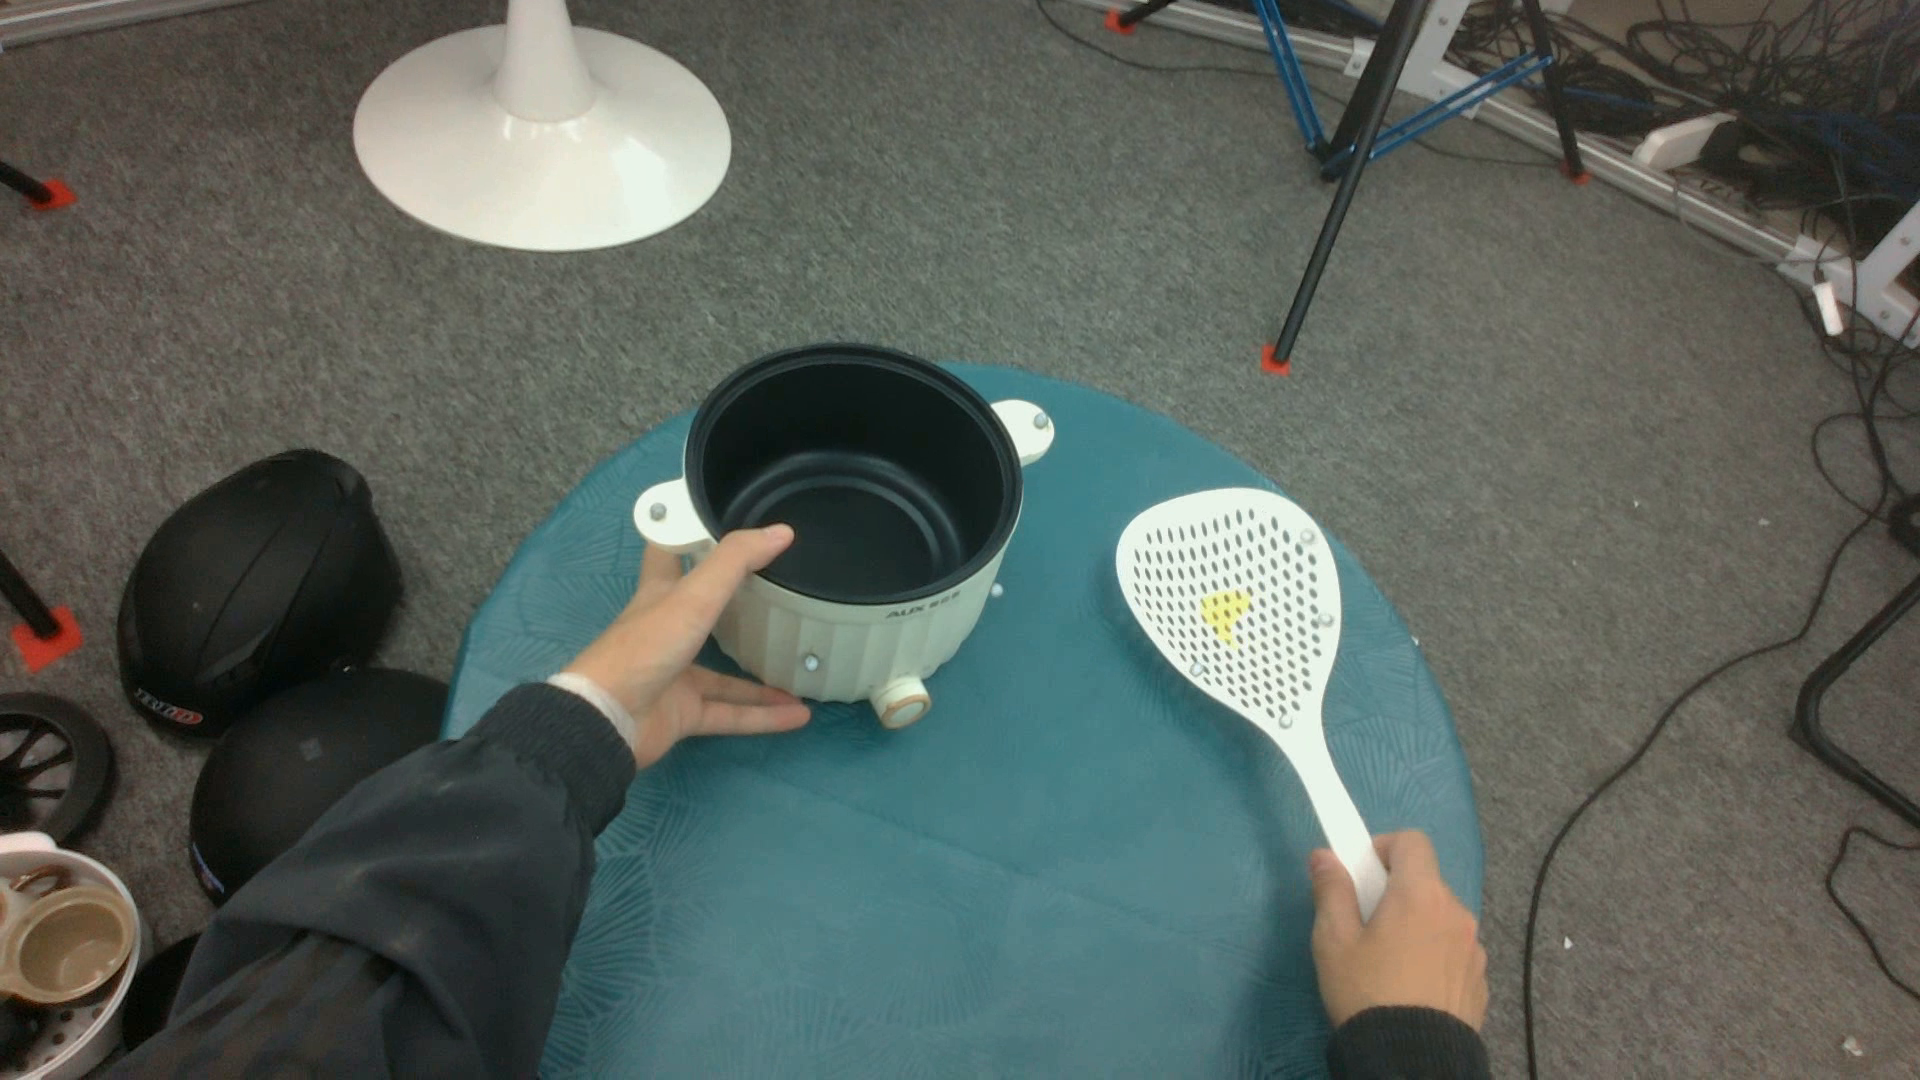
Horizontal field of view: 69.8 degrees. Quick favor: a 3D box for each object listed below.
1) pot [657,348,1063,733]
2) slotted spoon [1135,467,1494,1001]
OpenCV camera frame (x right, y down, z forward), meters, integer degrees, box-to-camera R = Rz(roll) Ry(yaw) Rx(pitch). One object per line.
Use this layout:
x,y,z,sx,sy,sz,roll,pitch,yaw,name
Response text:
-0.052,0.006,0.793,0.241,0.142,0.191,-20,55,-21,pot
0.213,0.100,0.807,0.137,0.050,0.349,-19,51,-2,slotted spoon
